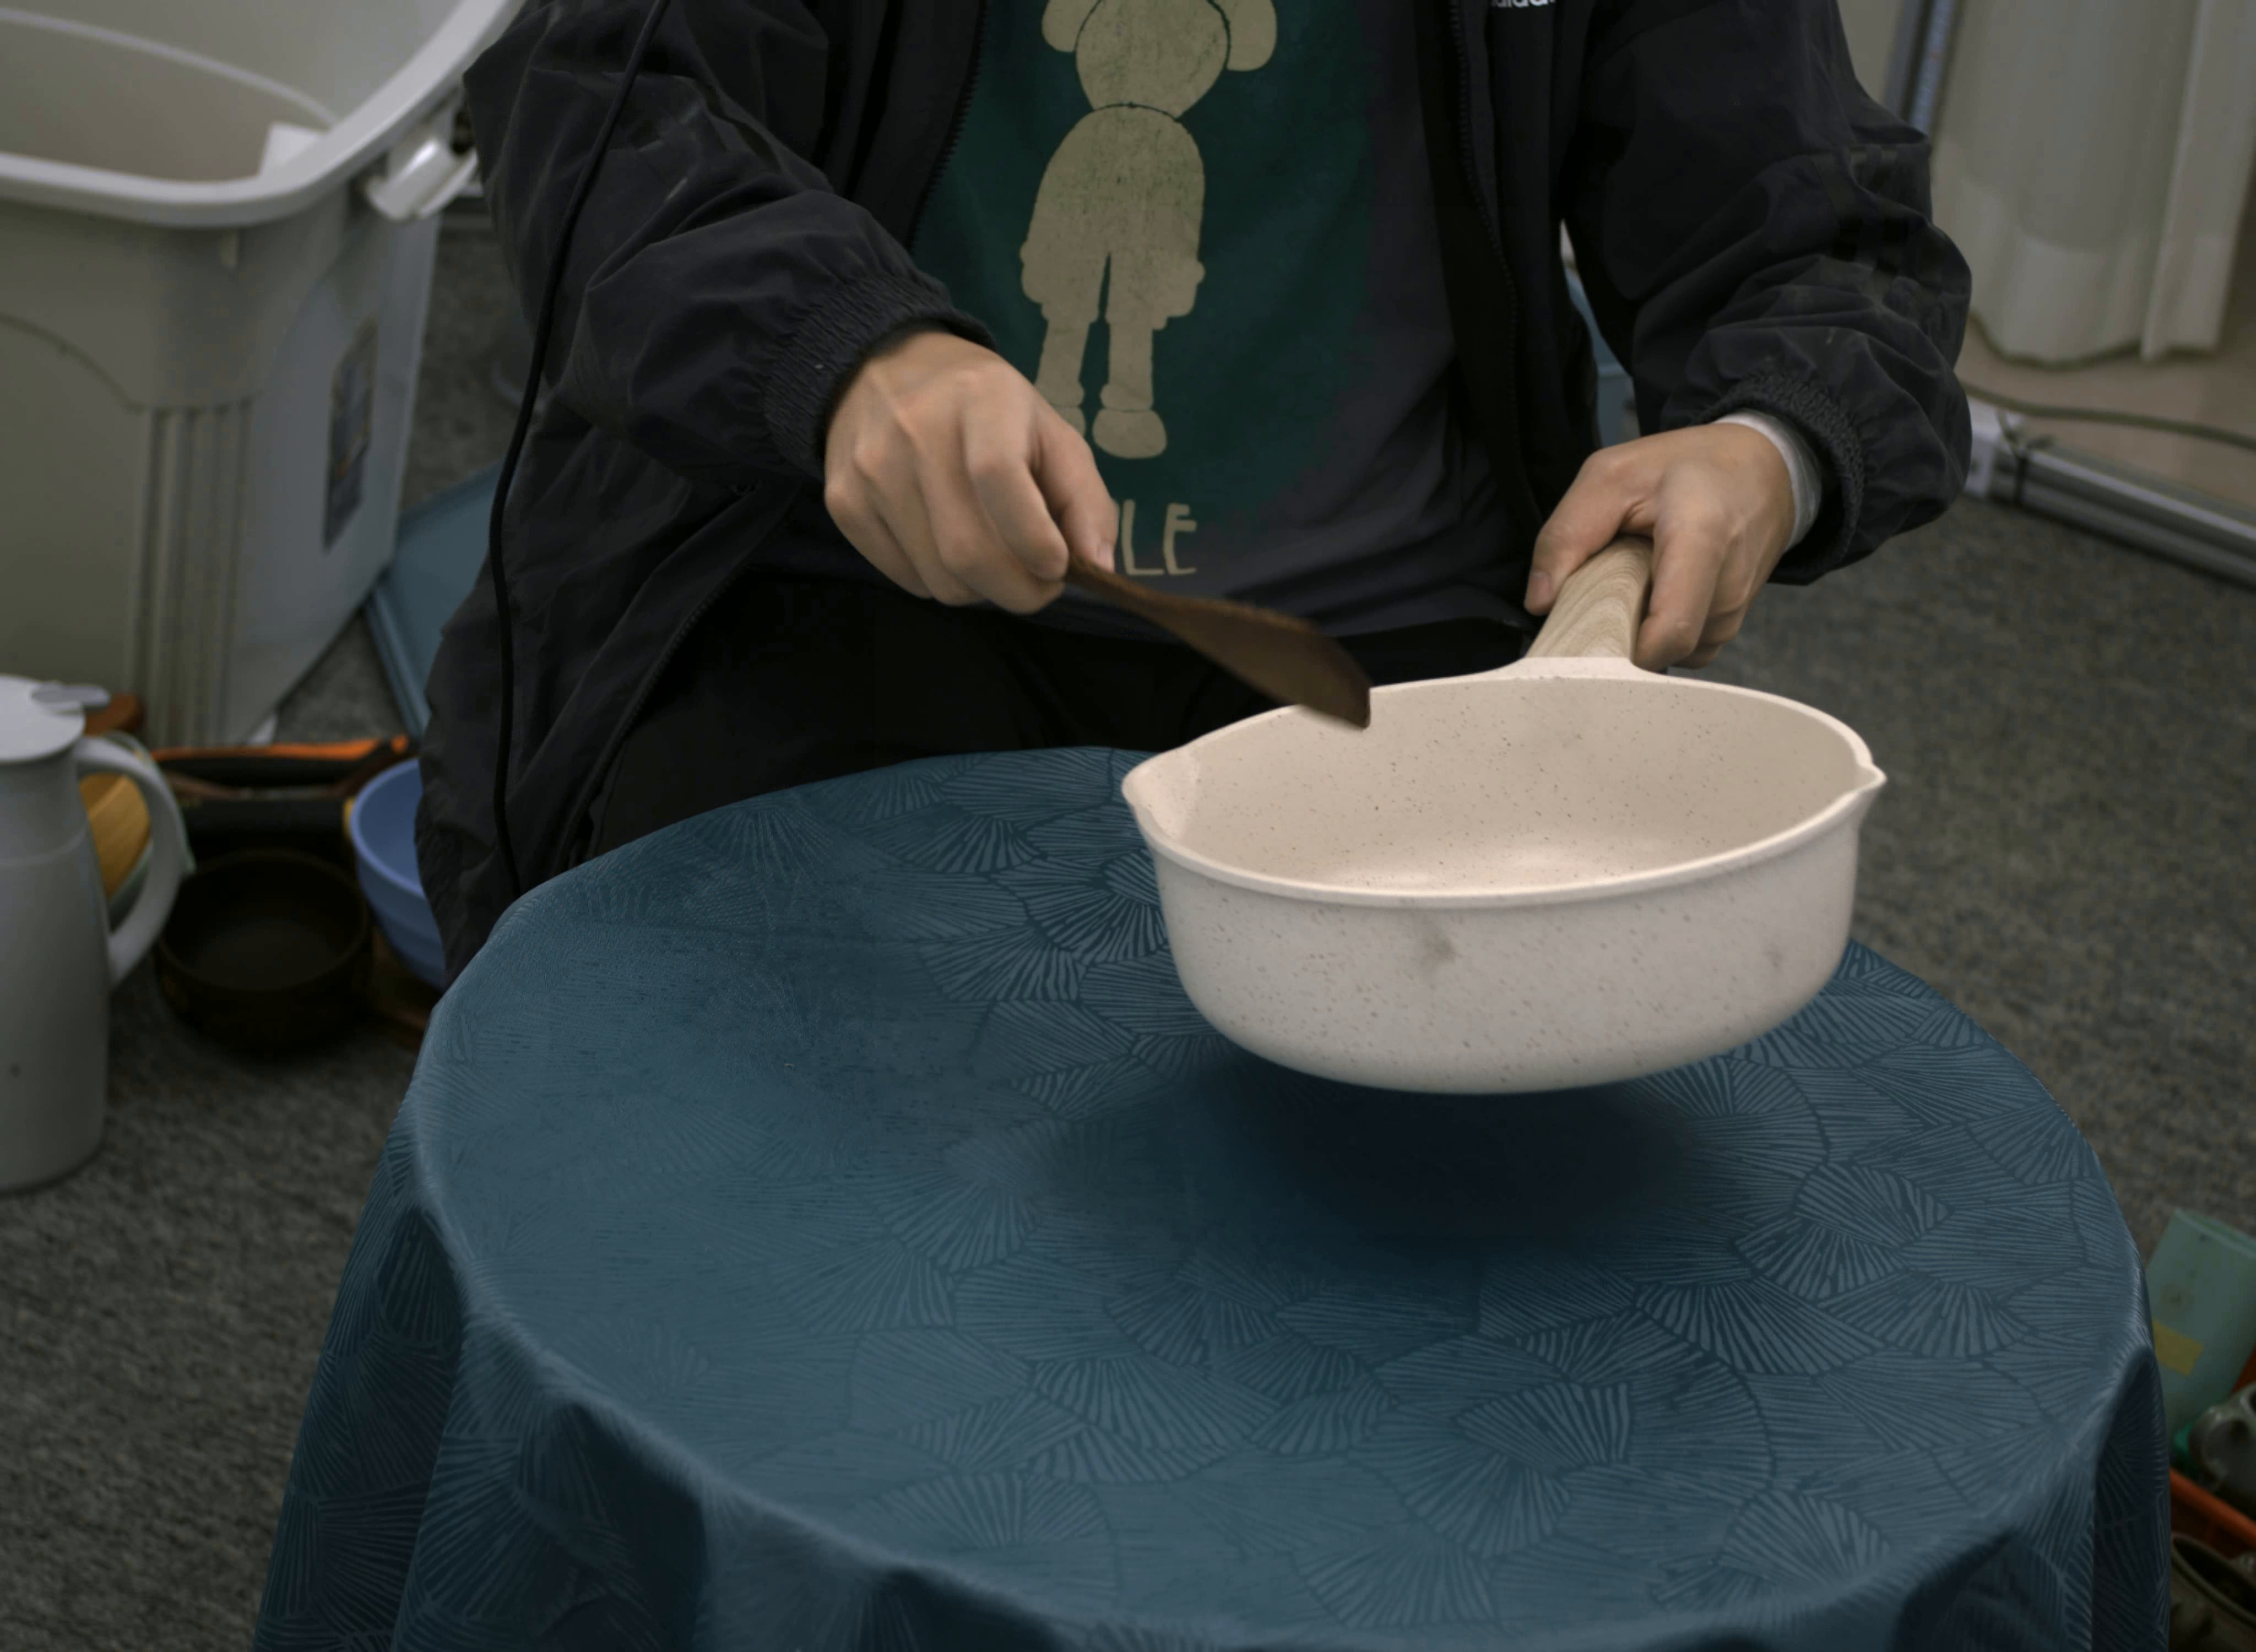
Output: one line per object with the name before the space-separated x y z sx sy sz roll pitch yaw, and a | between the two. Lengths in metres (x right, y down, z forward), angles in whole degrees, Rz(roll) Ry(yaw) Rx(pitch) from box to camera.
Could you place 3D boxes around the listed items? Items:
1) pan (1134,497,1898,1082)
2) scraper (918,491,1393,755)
pan | 0.156 -0.016 1.905 0.263 0.102 0.435 -2 17 16
scraper | 0.003 -0.075 1.816 0.213 0.075 0.011 27 74 40
